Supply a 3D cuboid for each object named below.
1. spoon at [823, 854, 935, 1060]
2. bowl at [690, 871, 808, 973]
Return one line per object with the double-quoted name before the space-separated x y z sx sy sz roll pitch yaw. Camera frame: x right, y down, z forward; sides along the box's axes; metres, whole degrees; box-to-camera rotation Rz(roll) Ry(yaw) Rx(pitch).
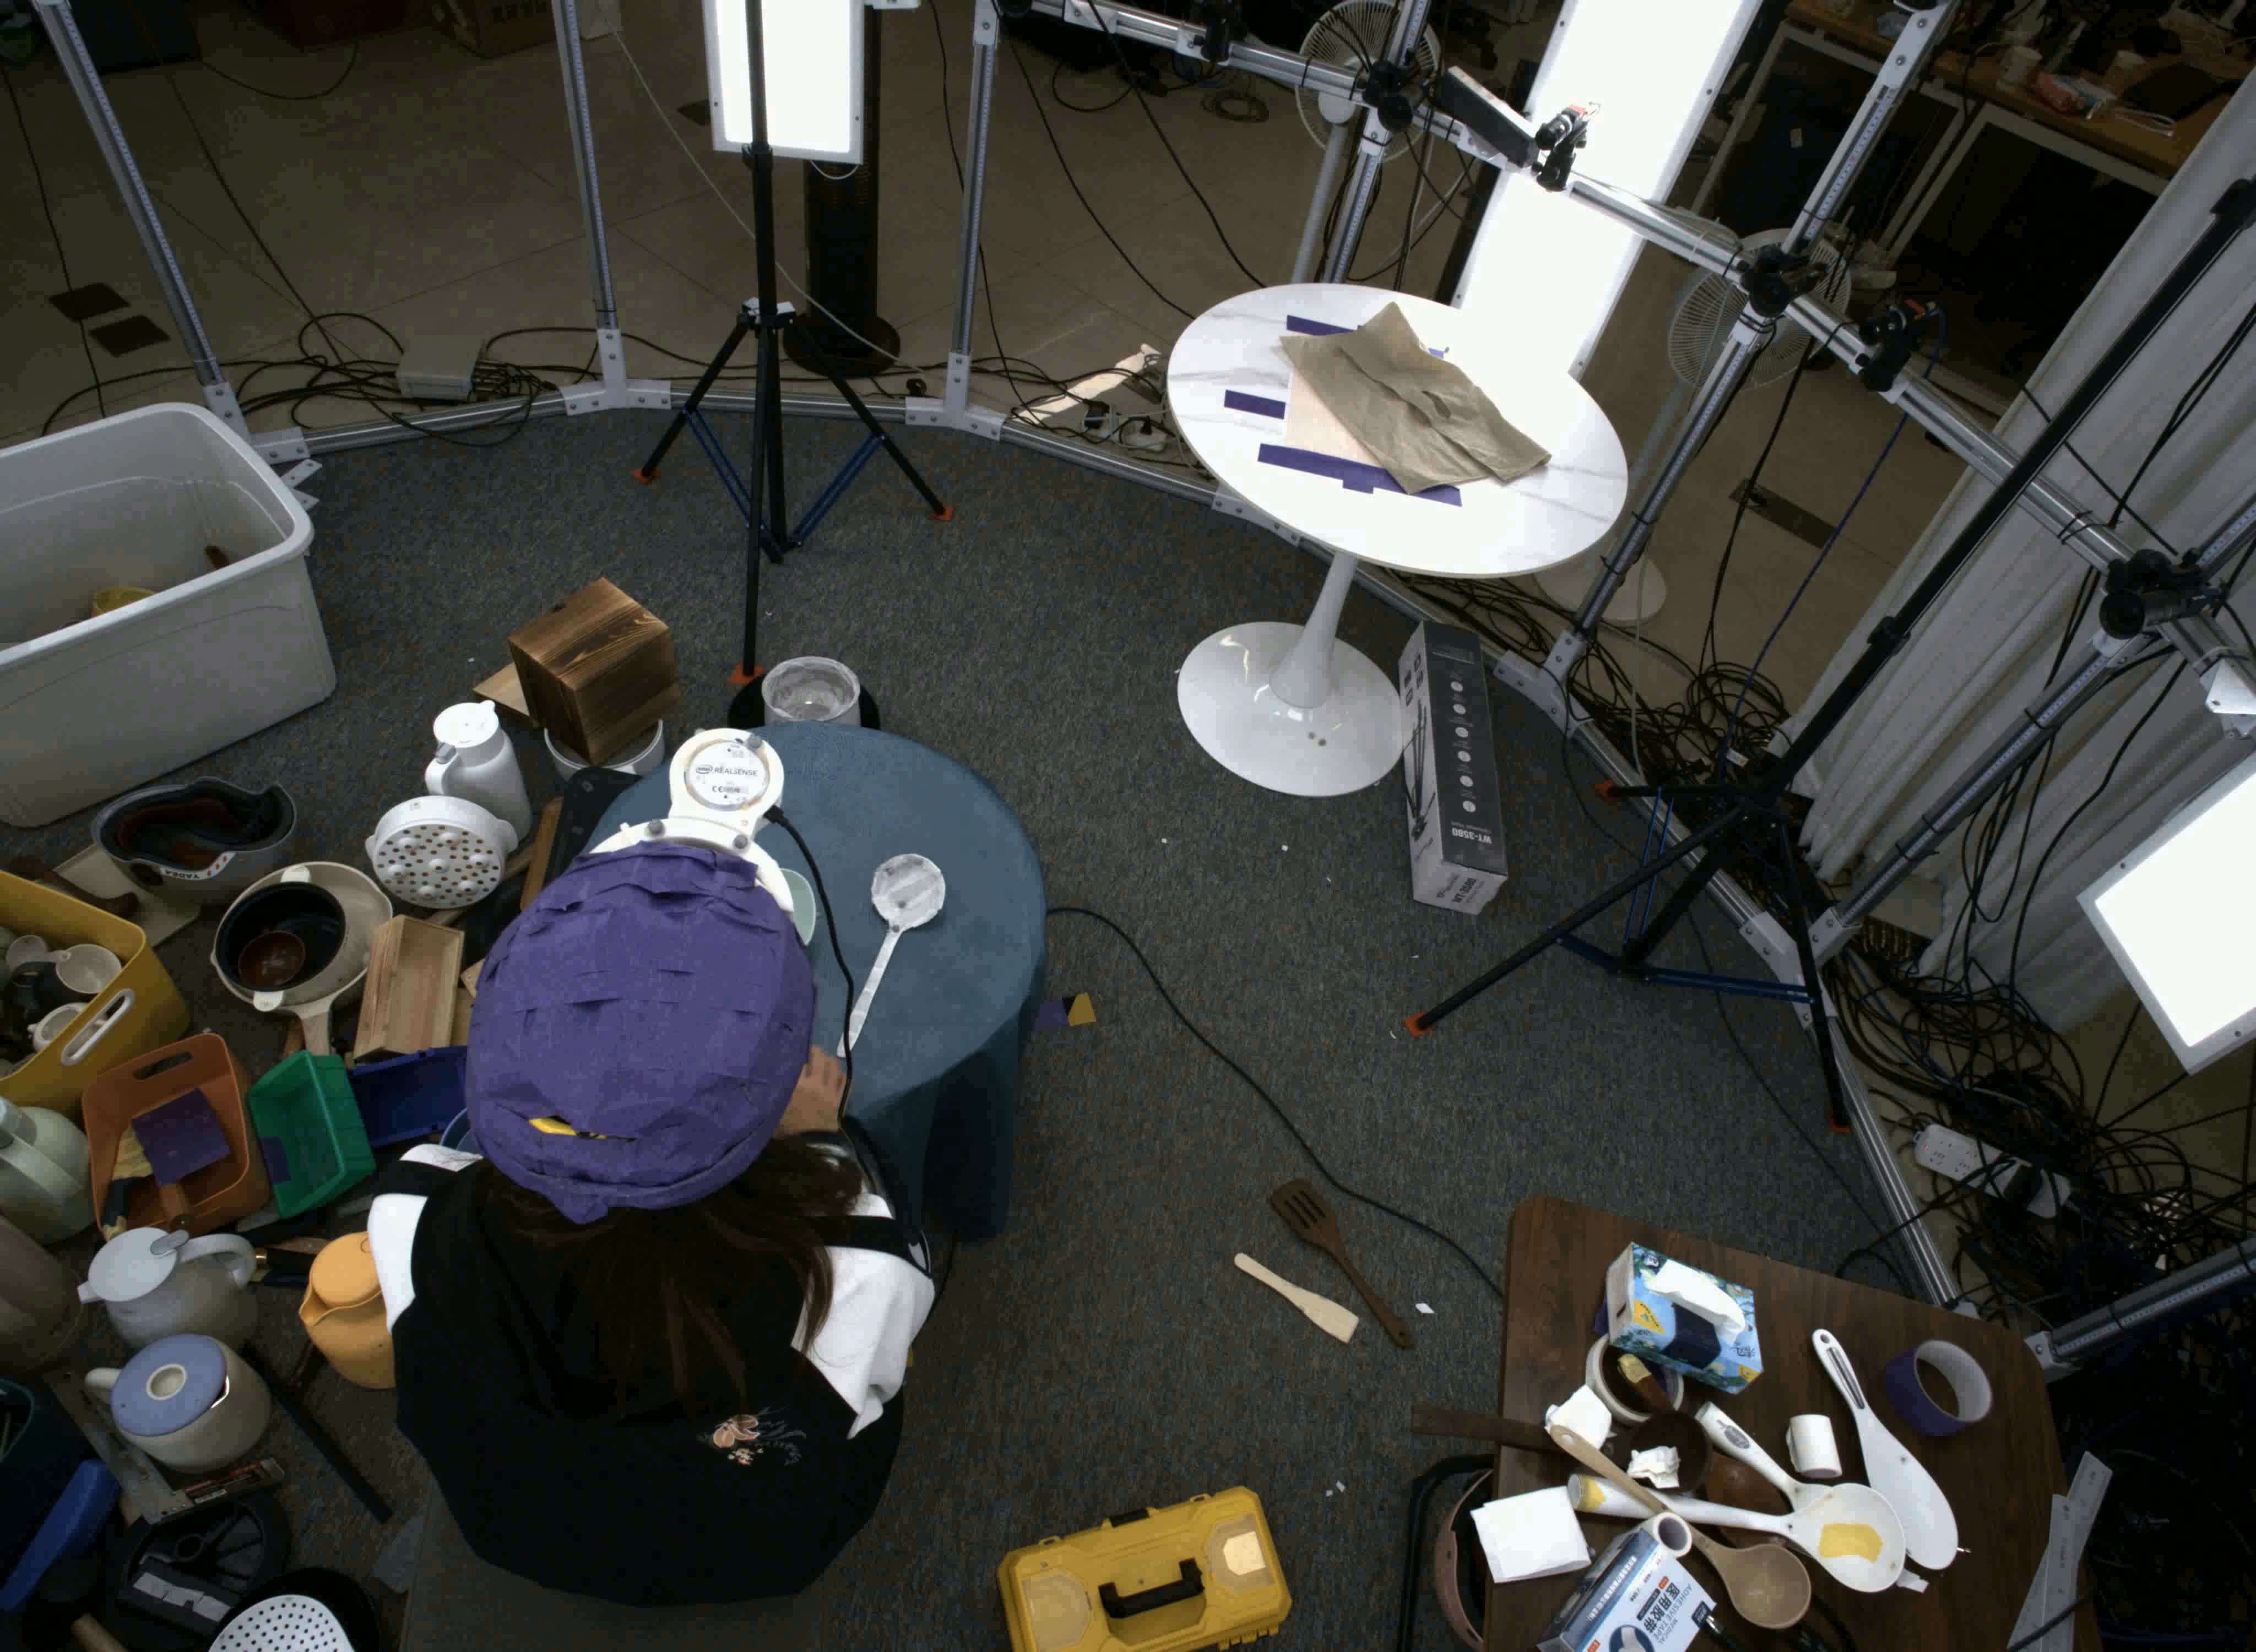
"spoon" -0.321 0.153 1.595 0.099 0.061 0.274 16 51 5
"bowl" -0.462 0.126 1.581 0.151 0.060 0.149 8 52 -9
